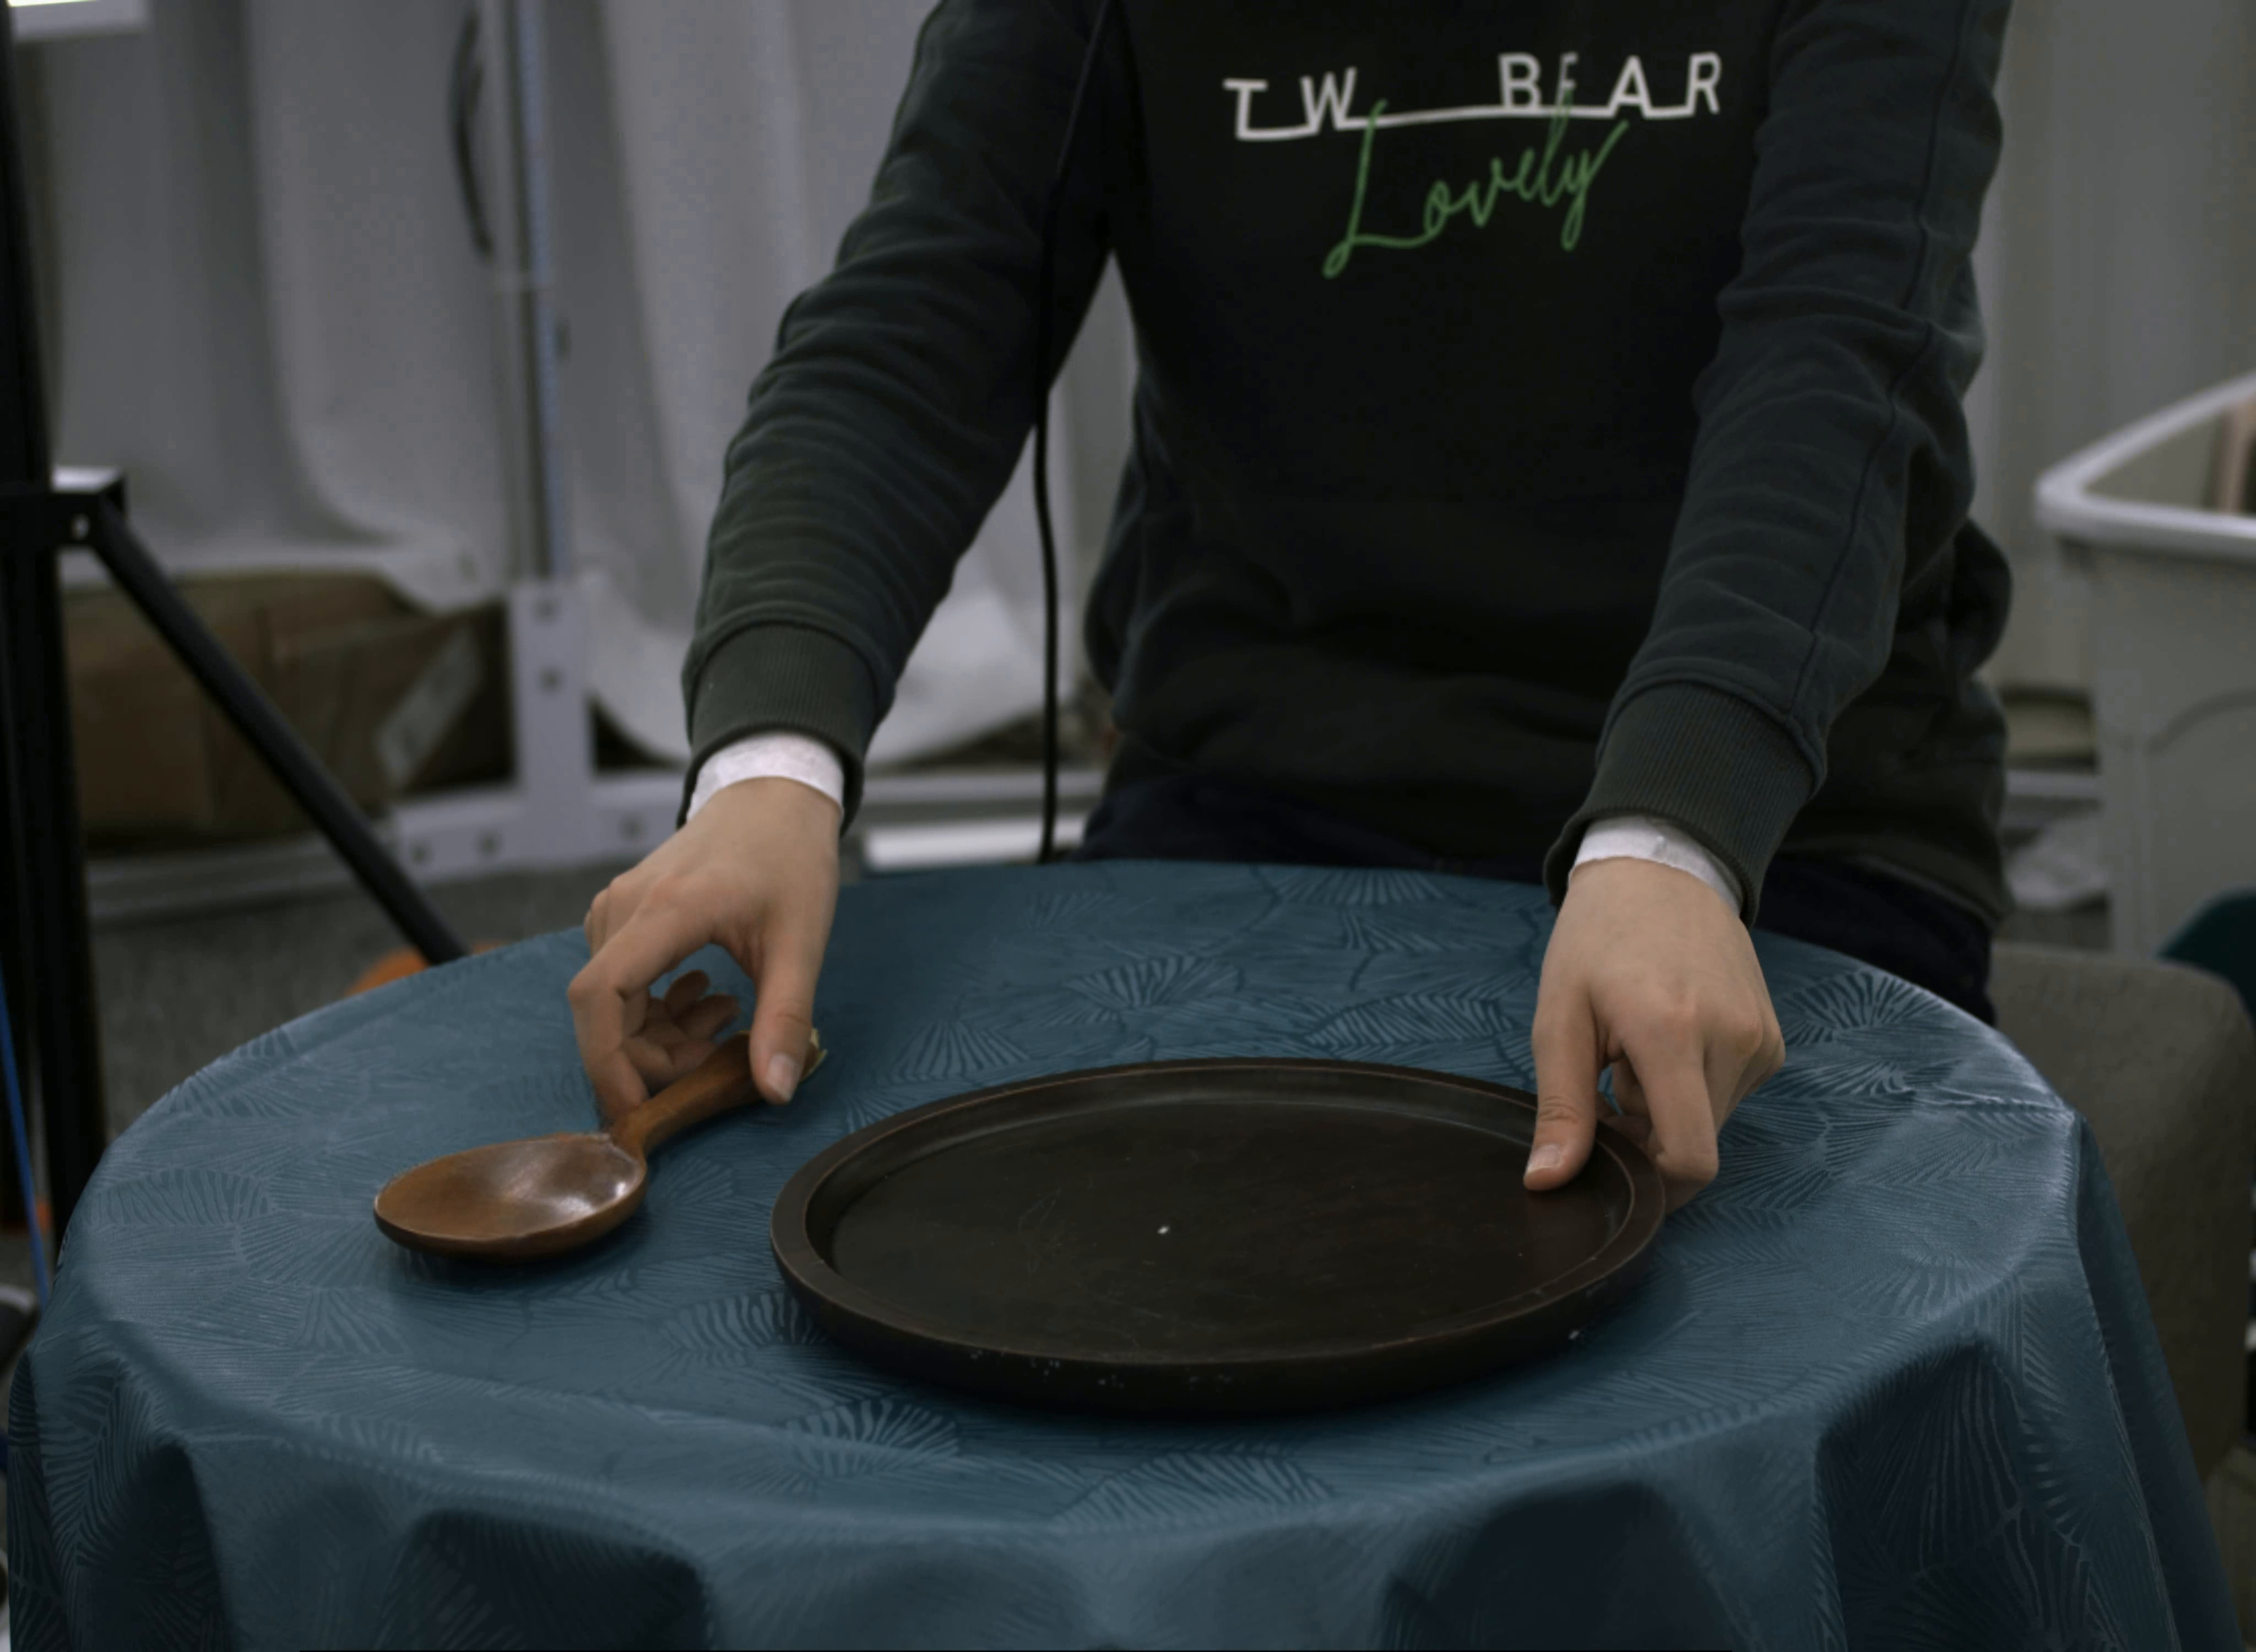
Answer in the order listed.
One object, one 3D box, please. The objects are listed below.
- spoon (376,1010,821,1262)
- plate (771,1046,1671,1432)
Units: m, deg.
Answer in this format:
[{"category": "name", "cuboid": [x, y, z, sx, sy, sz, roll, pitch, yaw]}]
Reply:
[{"category": "spoon", "cuboid": [-0.149, 0.094, 1.600, 0.076, 0.017, 0.212, 5, 18, 26]}, {"category": "plate", "cuboid": [0.026, 0.115, 1.489, 0.253, 0.029, 0.256, -3, 17, -1]}]
